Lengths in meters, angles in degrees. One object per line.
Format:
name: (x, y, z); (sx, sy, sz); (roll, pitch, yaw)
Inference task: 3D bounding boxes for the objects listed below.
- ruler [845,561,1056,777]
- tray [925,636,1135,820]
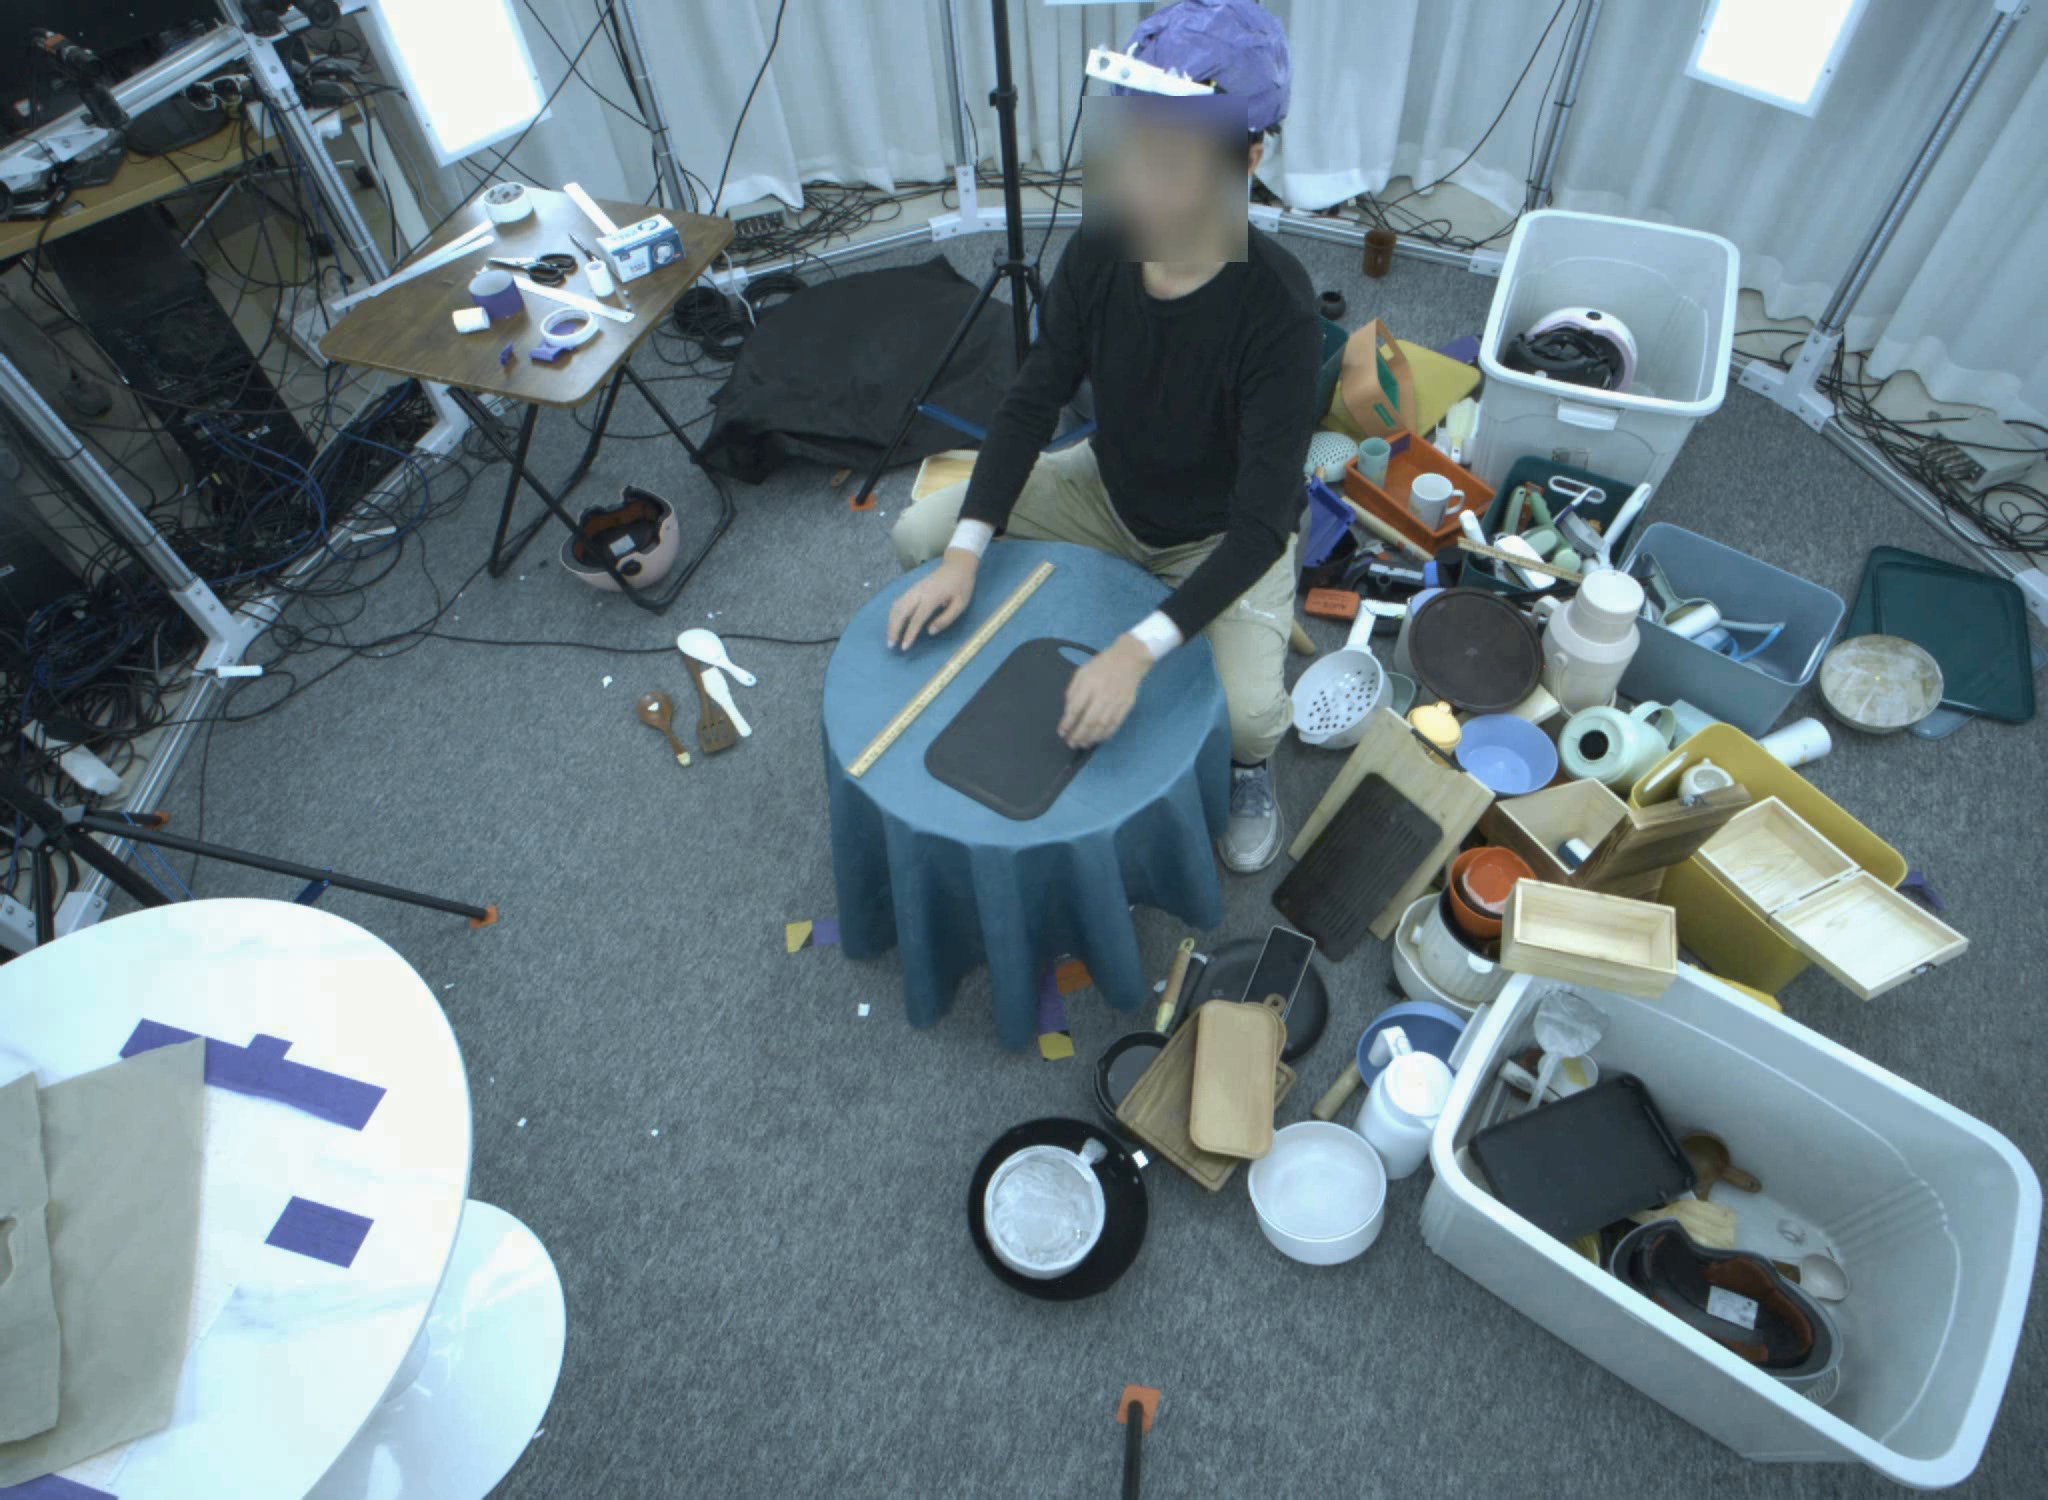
ruler: (-0.104, -0.134, 1.883); (0.026, 0.006, 0.503); (31, 61, 18)
tray: (0.015, -0.046, 1.816); (0.208, 0.010, 0.327); (29, 61, 20)
